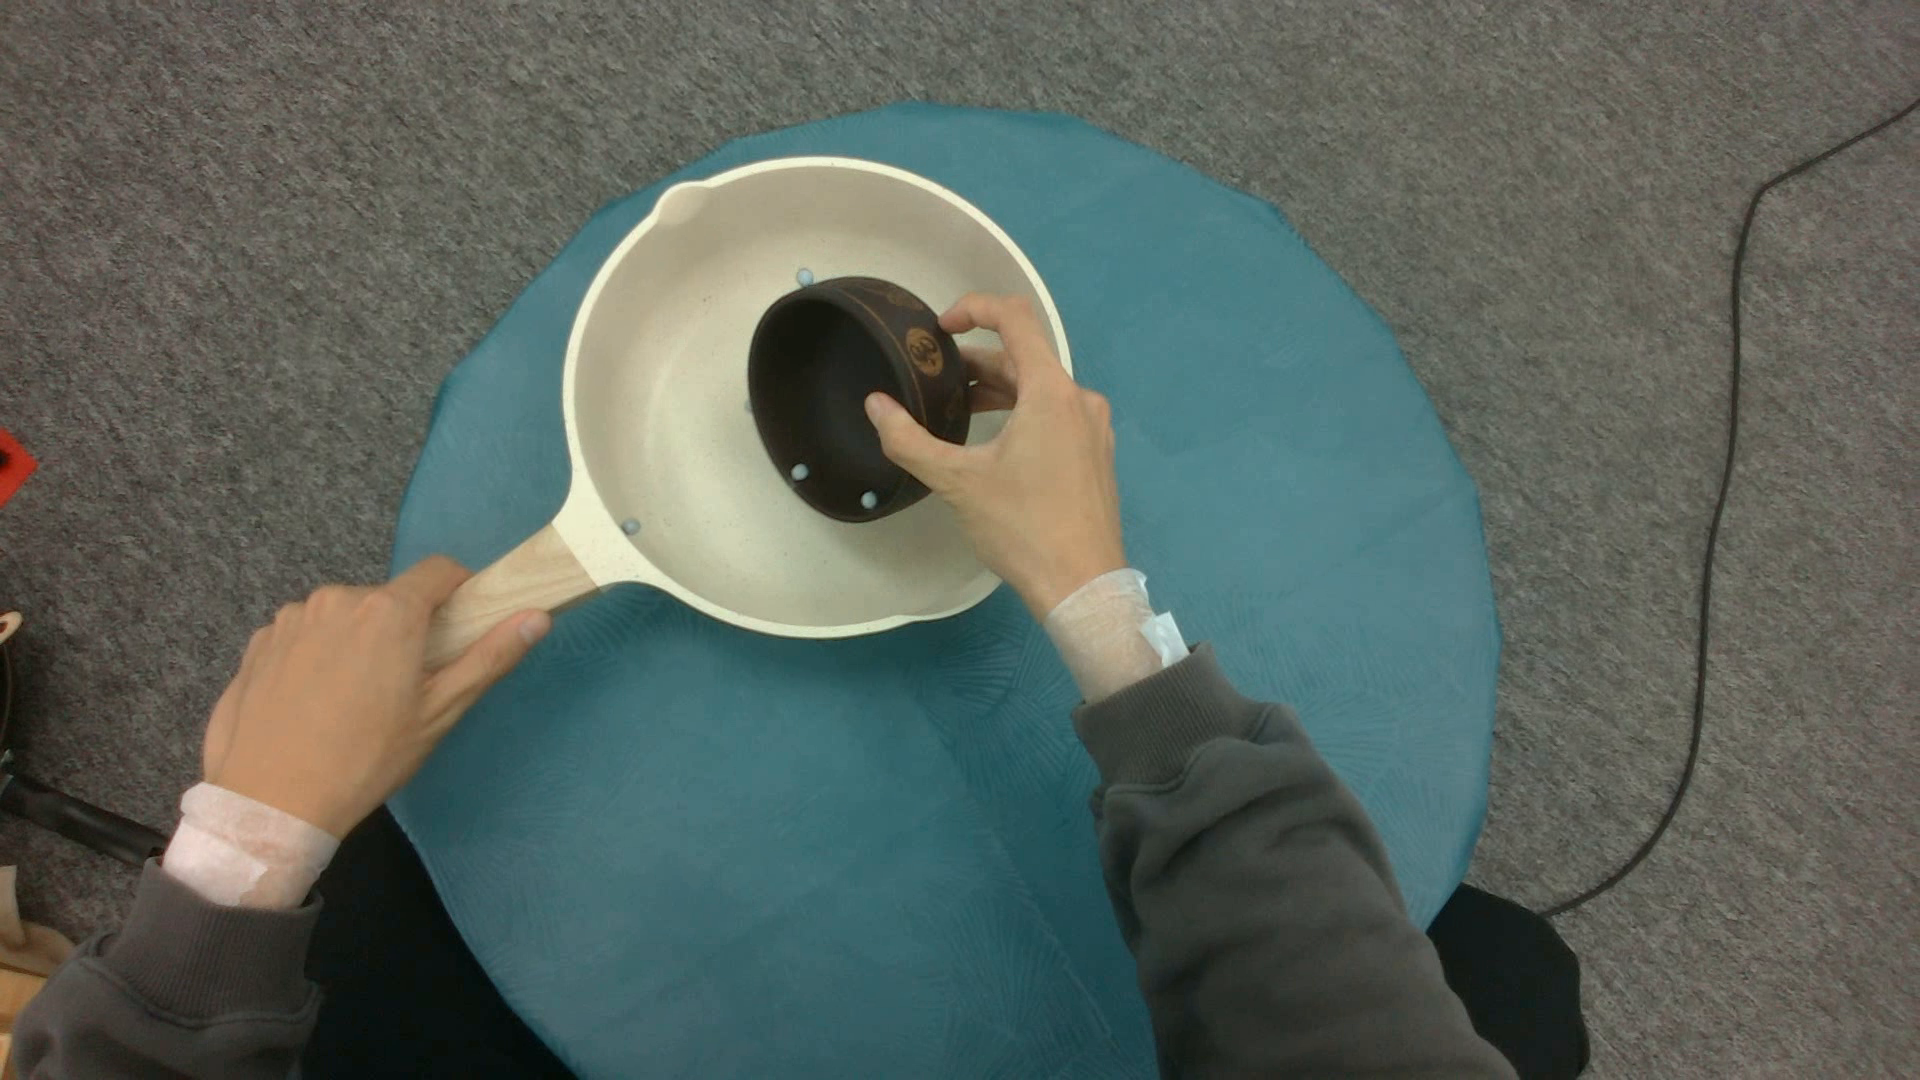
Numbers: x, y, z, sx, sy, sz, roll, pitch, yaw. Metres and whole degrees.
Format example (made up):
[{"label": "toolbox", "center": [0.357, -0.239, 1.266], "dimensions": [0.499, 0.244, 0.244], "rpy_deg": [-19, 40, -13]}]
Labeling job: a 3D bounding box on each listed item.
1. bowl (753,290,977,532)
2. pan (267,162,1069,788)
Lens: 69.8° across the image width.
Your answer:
[{"label": "bowl", "center": [-0.040, -0.069, 0.696], "dimensions": [0.070, 0.117, 0.118], "rpy_deg": [-28, 76, -47]}, {"label": "pan", "center": [-0.144, -0.015, 0.709], "dimensions": [0.435, 0.102, 0.263], "rpy_deg": [-36, 83, -11]}]
